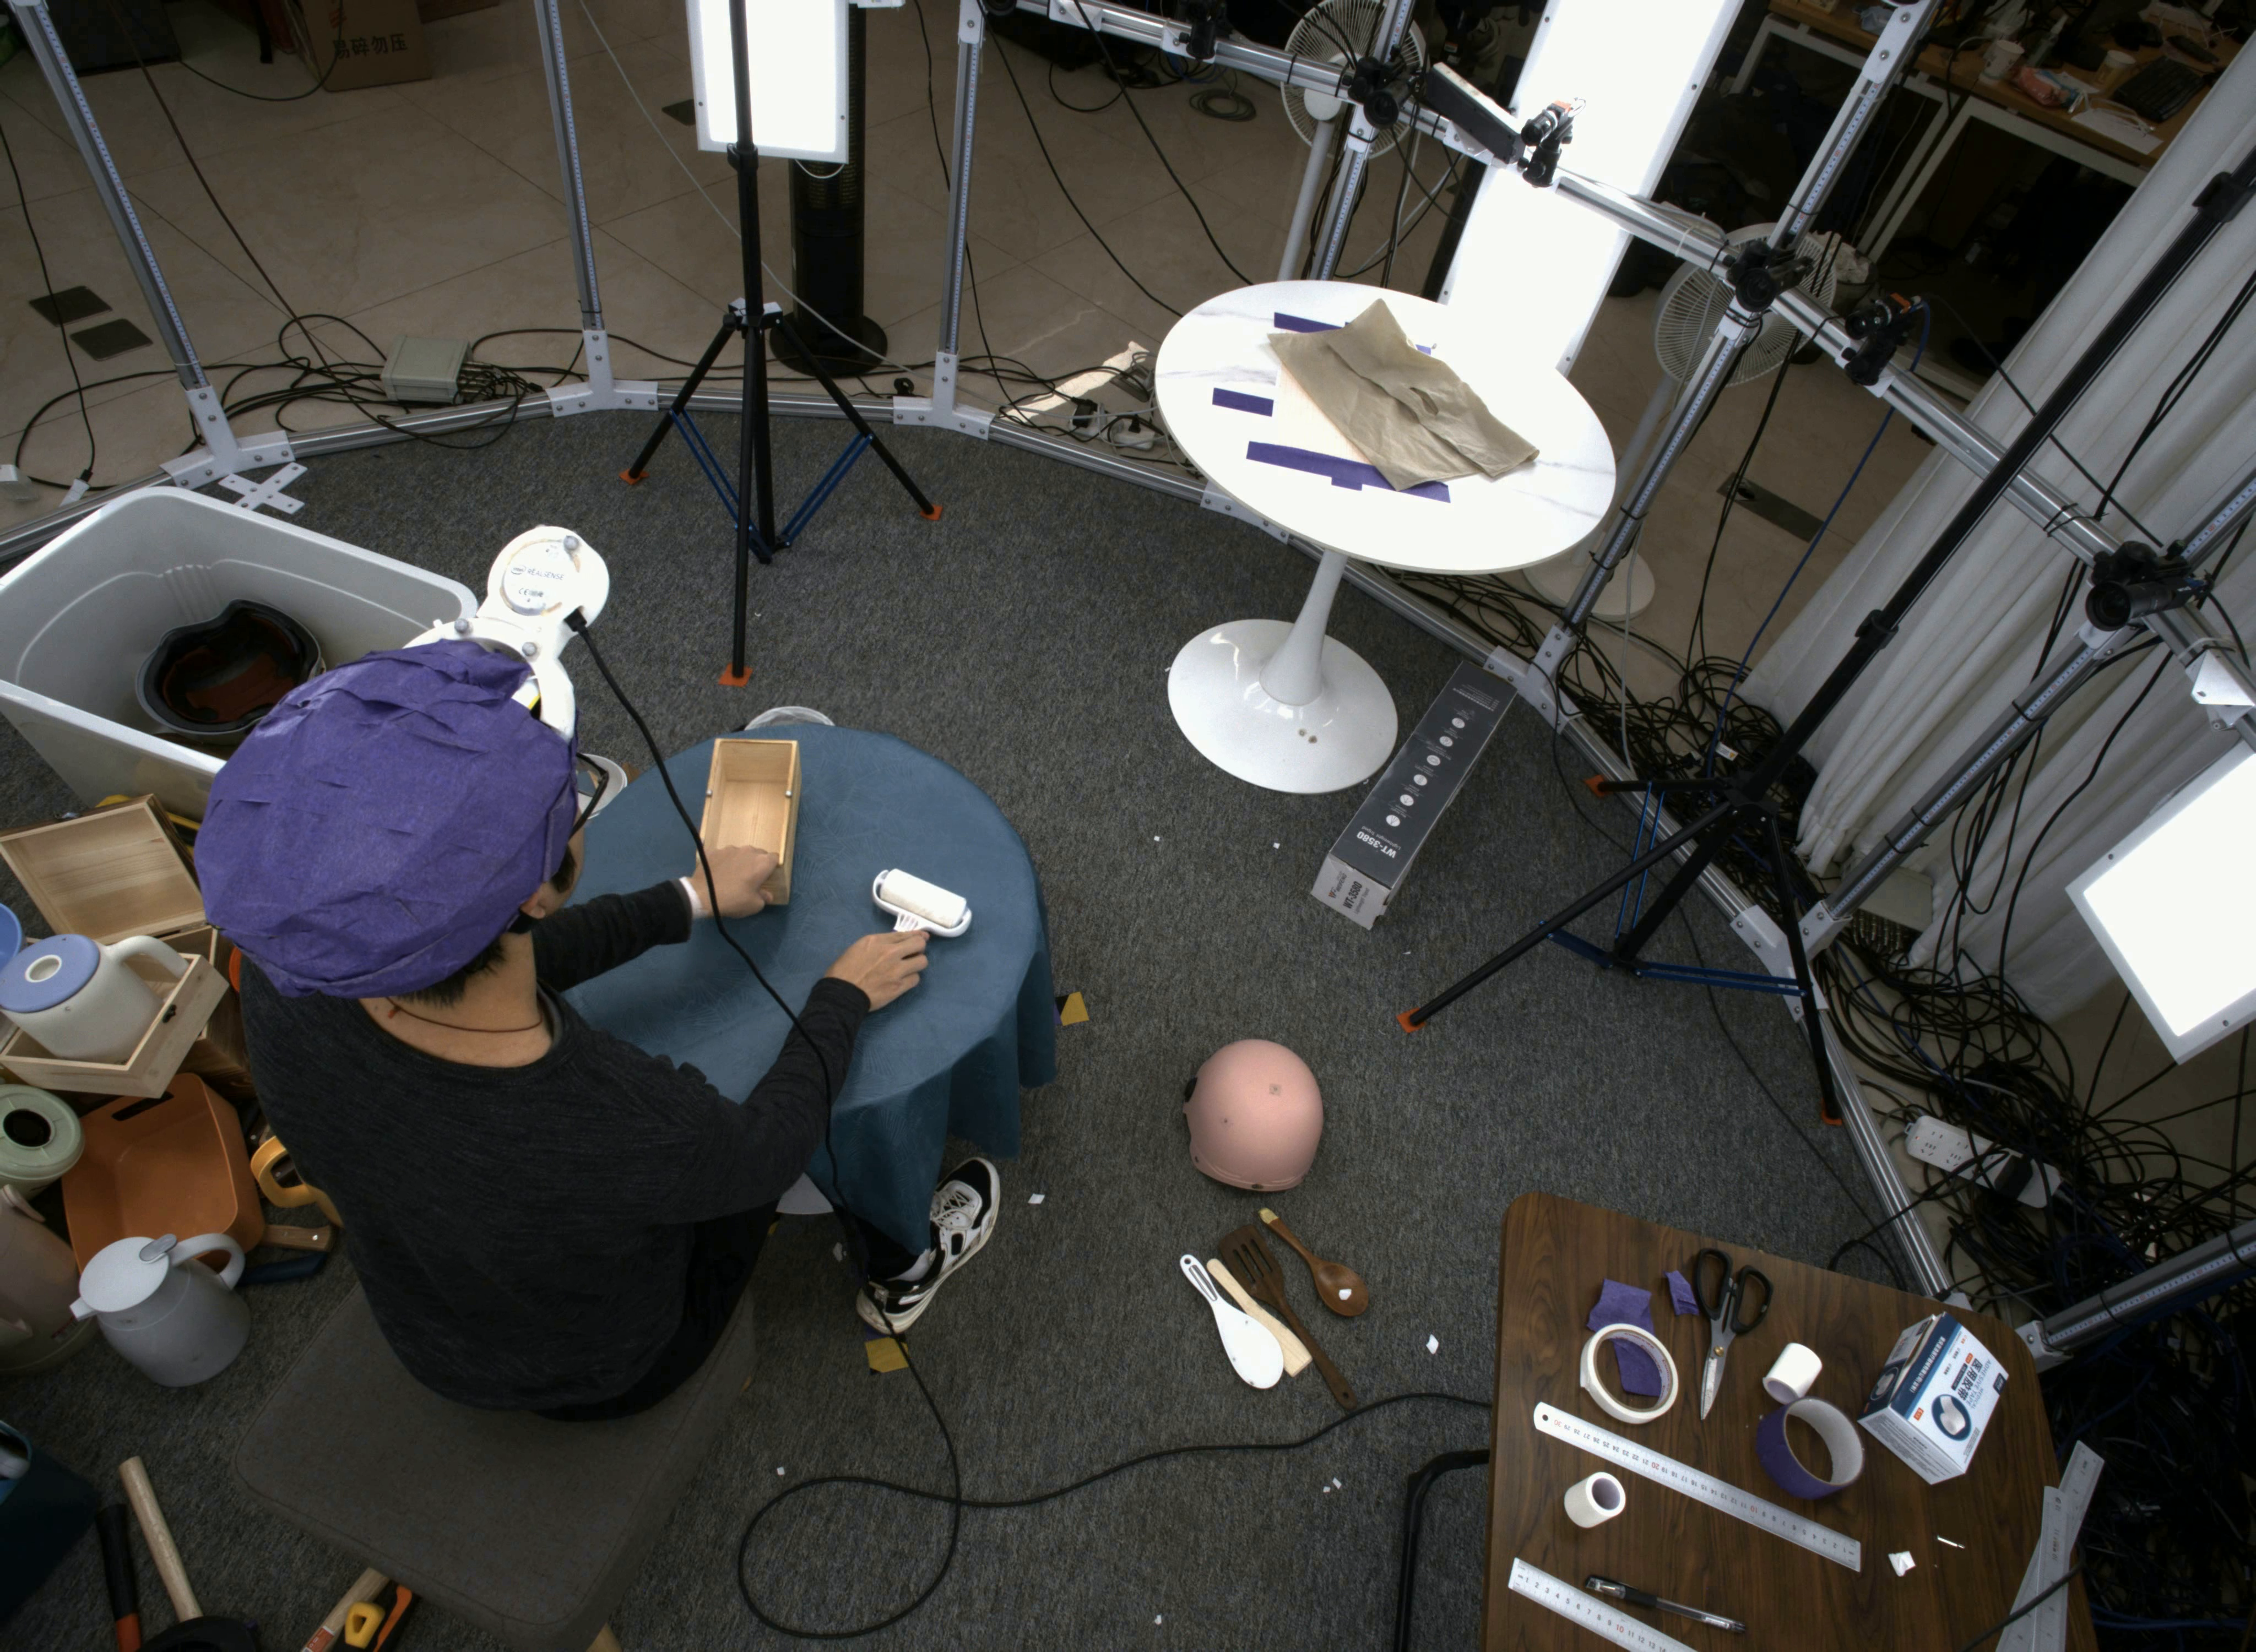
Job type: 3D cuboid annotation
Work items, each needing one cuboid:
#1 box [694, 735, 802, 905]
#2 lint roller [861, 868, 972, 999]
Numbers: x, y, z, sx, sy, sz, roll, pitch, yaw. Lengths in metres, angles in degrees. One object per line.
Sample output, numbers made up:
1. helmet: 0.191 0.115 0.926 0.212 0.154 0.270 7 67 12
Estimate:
1. box: -0.476 -0.011 1.633 0.107 0.082 0.207 1 51 -9
2. lint roller: -0.285 0.134 1.618 0.131 0.051 0.179 25 45 4
